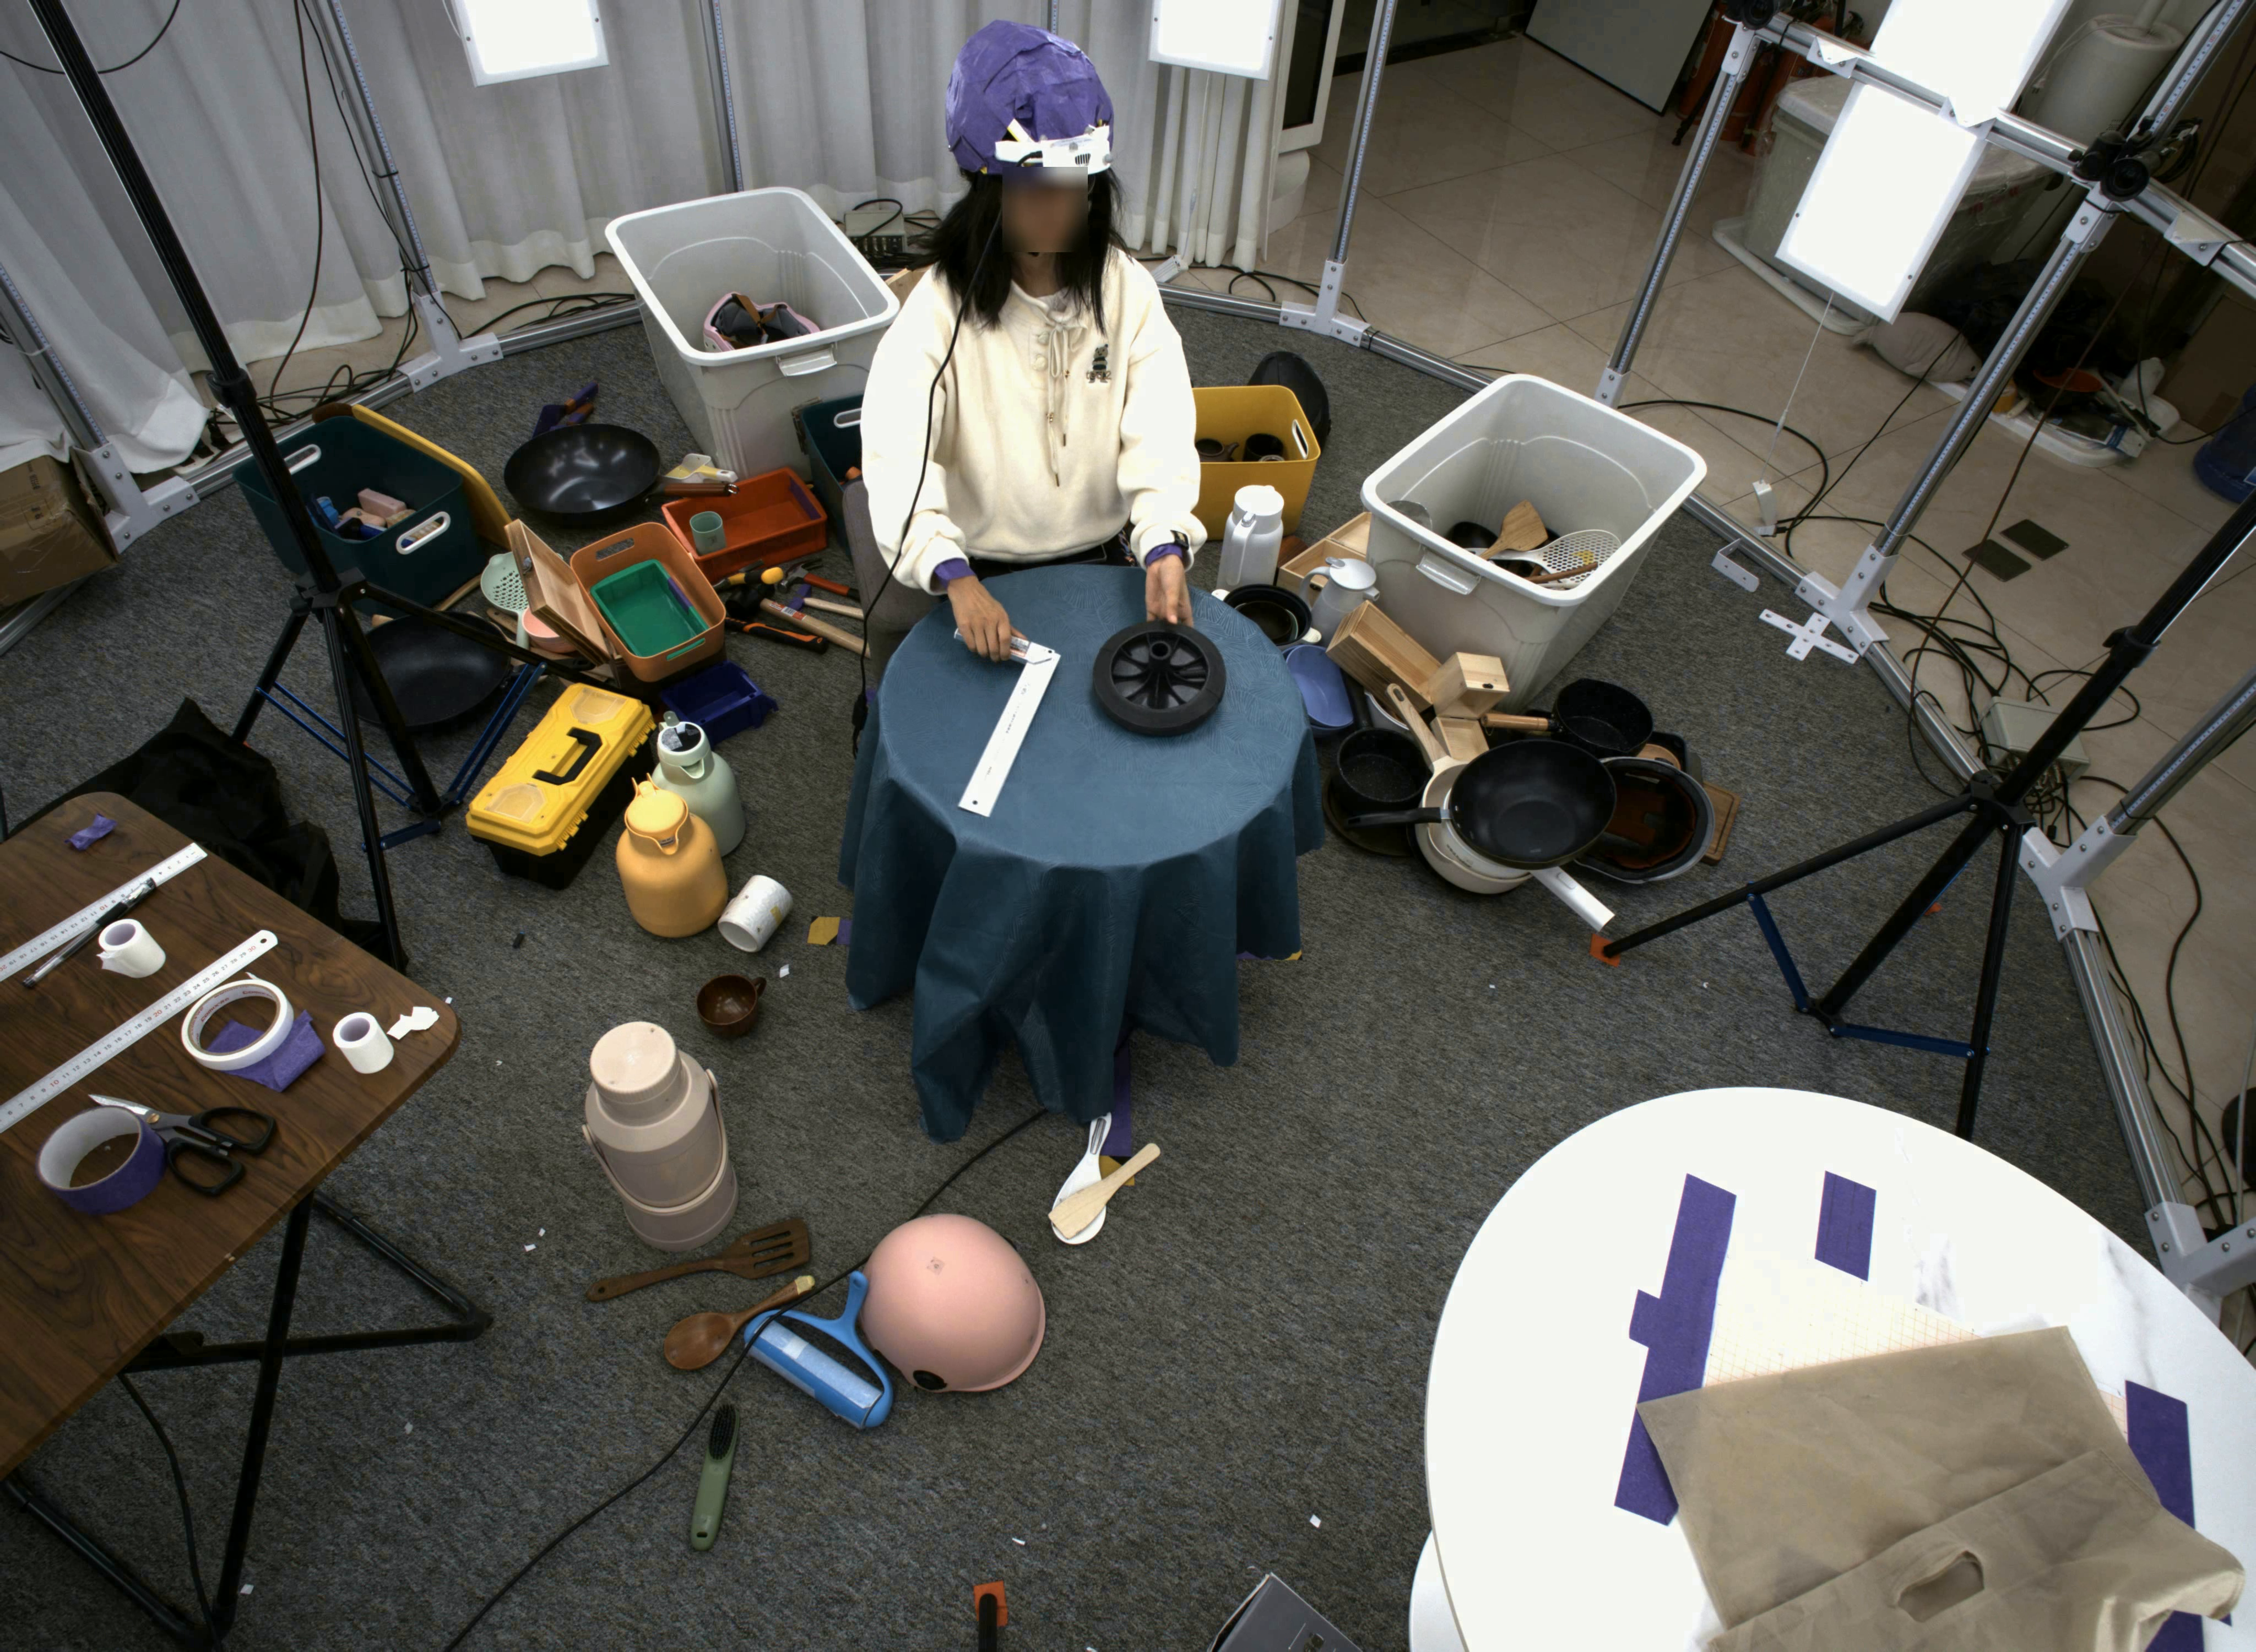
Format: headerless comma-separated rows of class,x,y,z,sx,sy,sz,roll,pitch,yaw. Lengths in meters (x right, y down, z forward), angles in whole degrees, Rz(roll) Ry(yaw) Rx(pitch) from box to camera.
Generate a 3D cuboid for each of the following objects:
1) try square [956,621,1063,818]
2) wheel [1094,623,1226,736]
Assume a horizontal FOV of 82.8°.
try square,-0.207,-0.153,1.767,0.152,0.015,0.319,18,53,3
wheel,0.046,-0.221,1.804,0.190,0.077,0.191,-22,61,-13
